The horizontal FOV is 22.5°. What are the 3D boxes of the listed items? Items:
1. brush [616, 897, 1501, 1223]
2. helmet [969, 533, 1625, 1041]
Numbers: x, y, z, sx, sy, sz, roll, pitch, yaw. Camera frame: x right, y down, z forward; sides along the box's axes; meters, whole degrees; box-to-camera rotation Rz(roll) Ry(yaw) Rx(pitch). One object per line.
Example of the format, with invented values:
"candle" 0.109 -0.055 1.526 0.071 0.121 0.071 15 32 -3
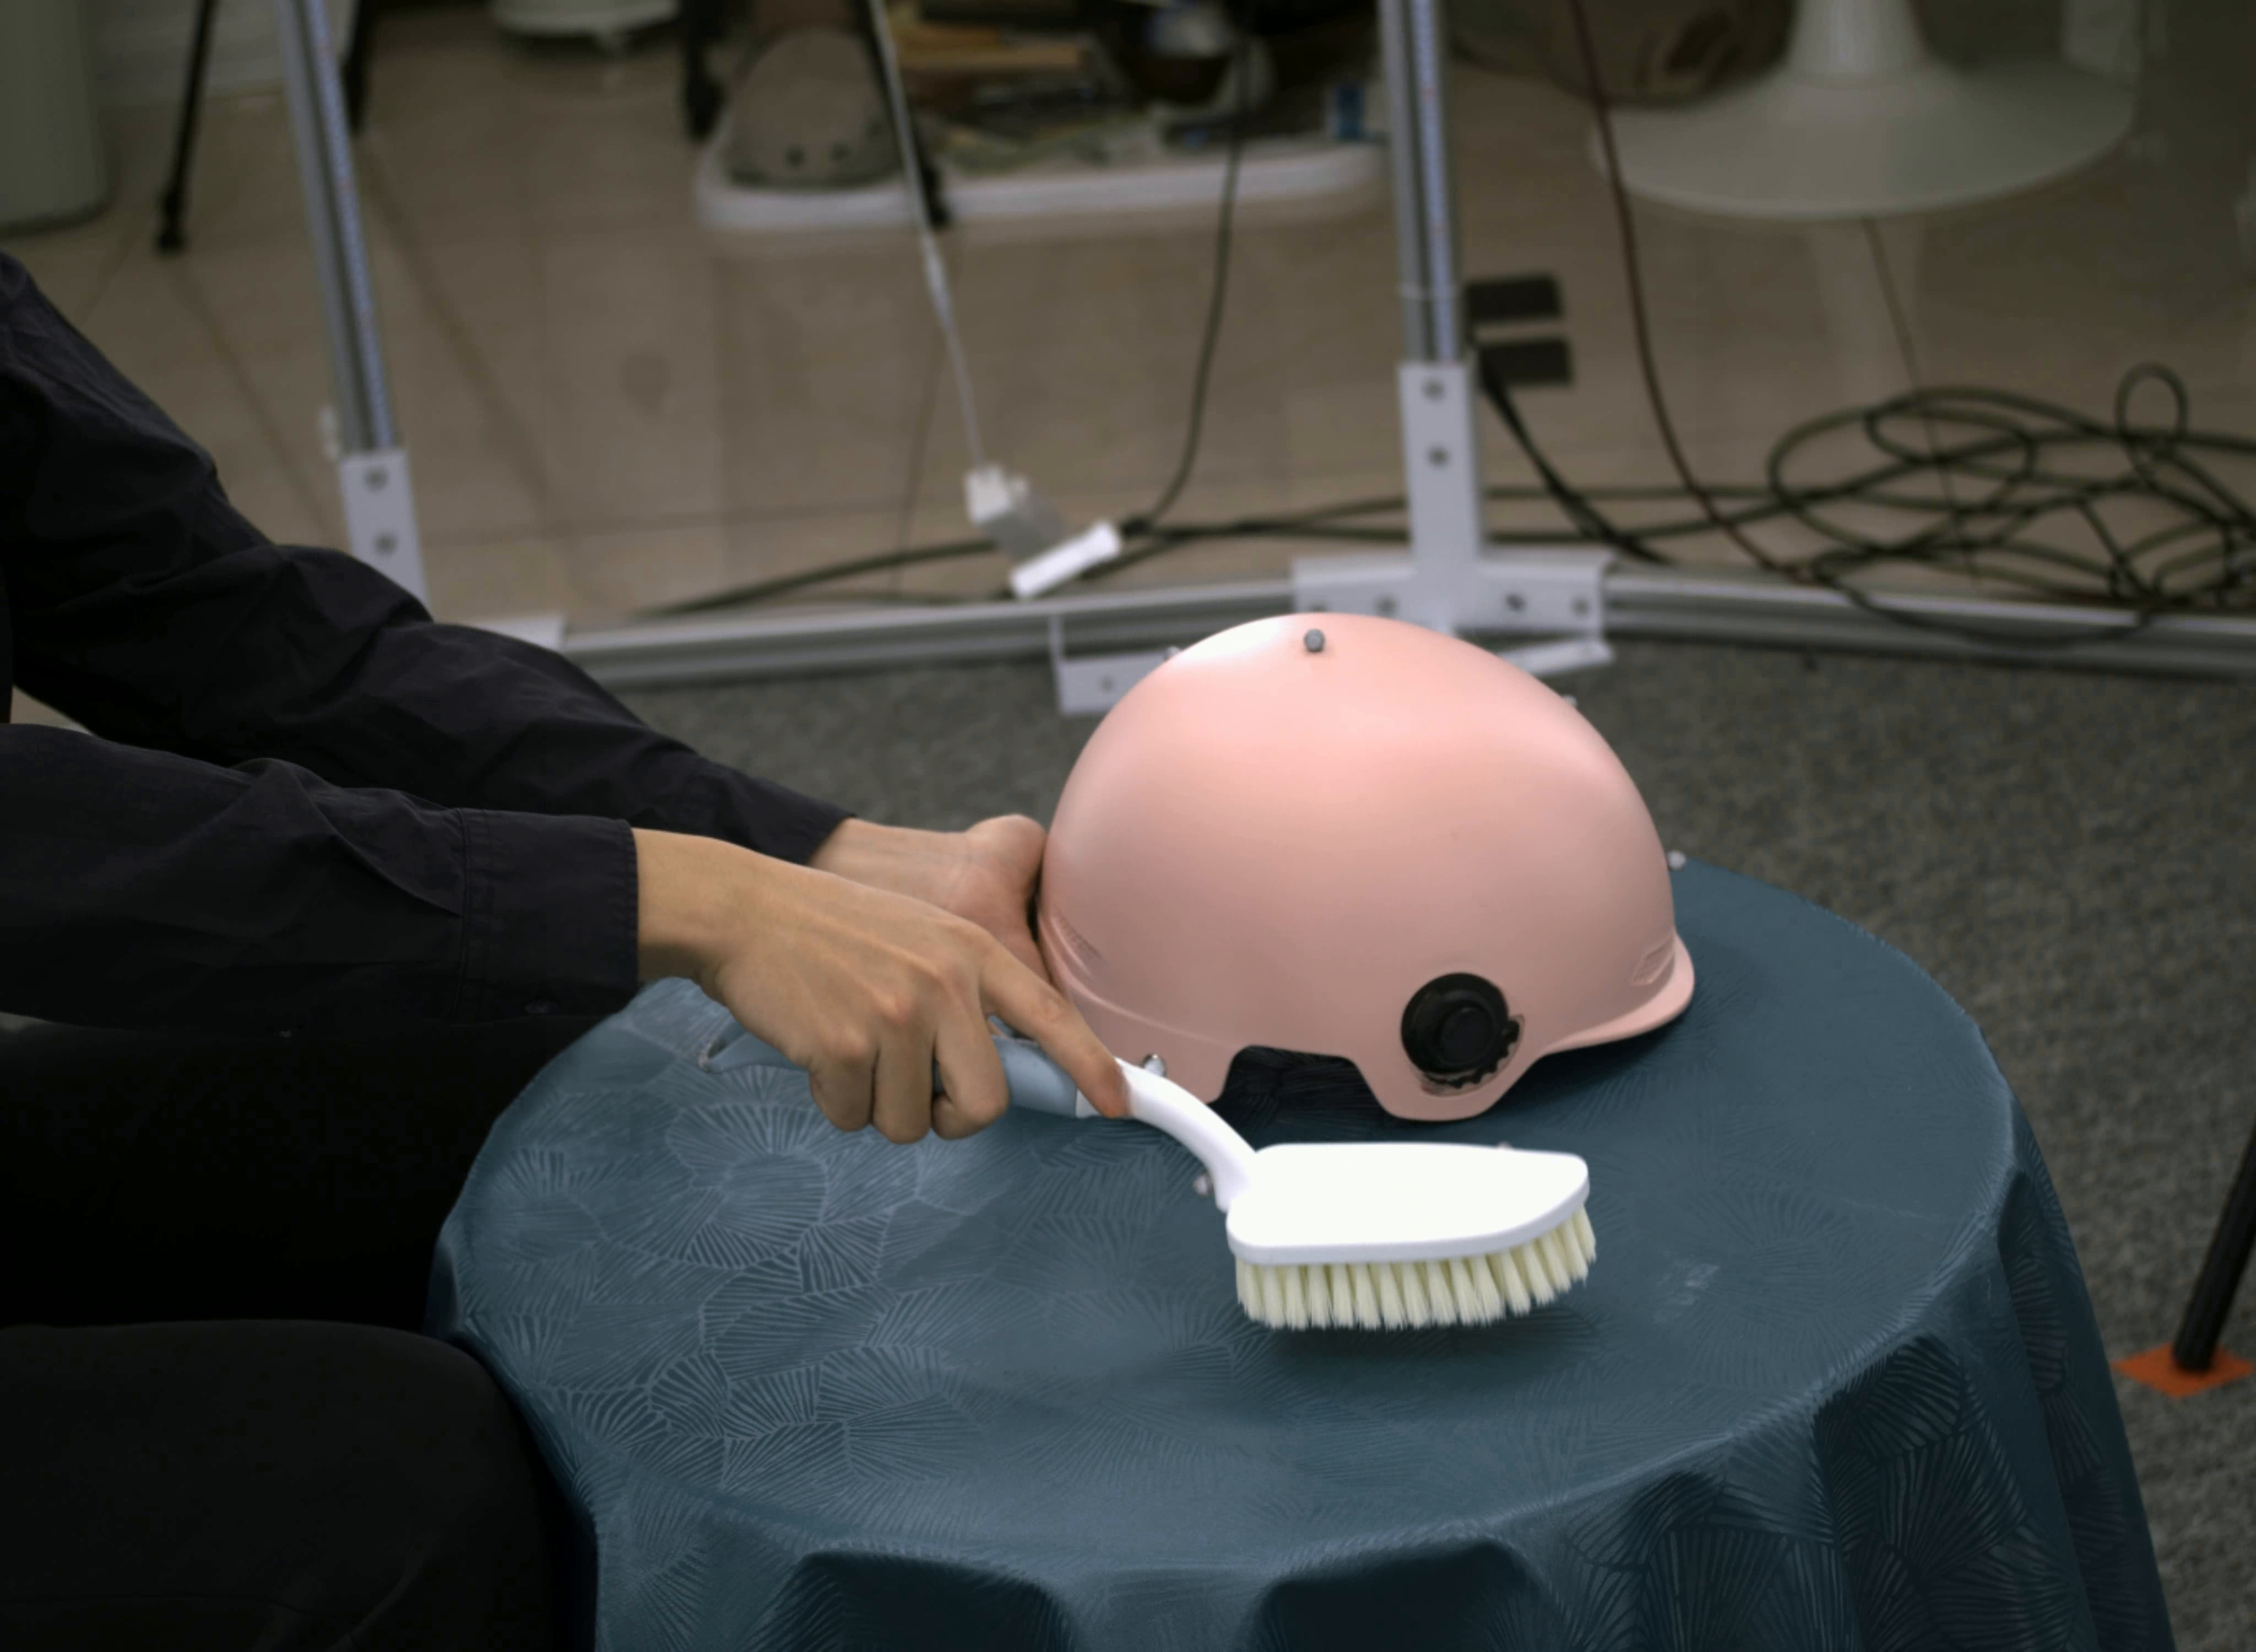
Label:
"brush" -0.027 0.093 2.052 0.325 0.084 0.083 9 -7 3
"helmet" 0.070 -0.031 2.254 0.265 0.161 0.230 0 26 -4
